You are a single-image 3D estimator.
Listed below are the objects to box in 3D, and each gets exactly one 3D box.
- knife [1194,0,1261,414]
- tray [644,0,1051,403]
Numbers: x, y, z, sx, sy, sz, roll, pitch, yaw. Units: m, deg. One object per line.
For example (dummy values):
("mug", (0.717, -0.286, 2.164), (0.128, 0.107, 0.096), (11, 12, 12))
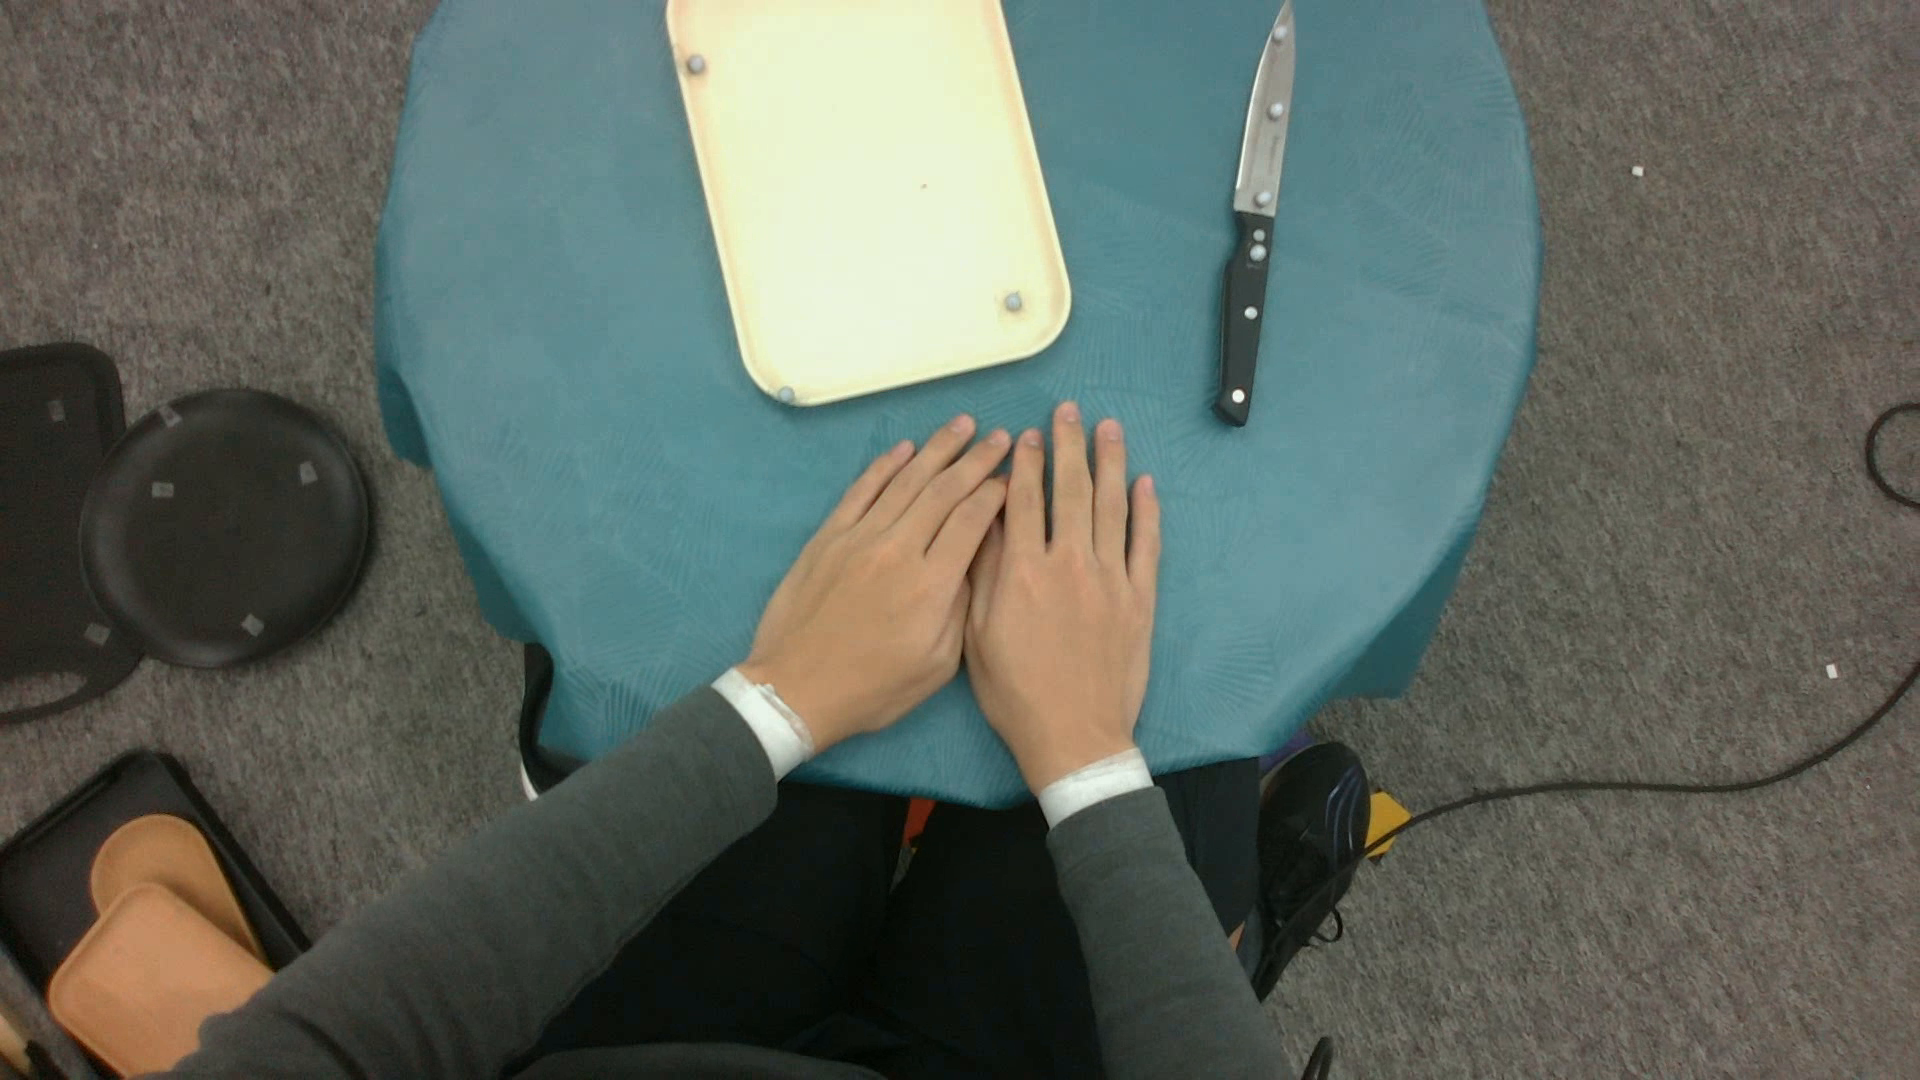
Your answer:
("knife", (0.145, -0.179, 0.726), (0.024, 0.016, 0.238), (9, 78, -5))
("tray", (-0.058, -0.195, 0.711), (0.171, 0.017, 0.240), (-13, 82, -7))
